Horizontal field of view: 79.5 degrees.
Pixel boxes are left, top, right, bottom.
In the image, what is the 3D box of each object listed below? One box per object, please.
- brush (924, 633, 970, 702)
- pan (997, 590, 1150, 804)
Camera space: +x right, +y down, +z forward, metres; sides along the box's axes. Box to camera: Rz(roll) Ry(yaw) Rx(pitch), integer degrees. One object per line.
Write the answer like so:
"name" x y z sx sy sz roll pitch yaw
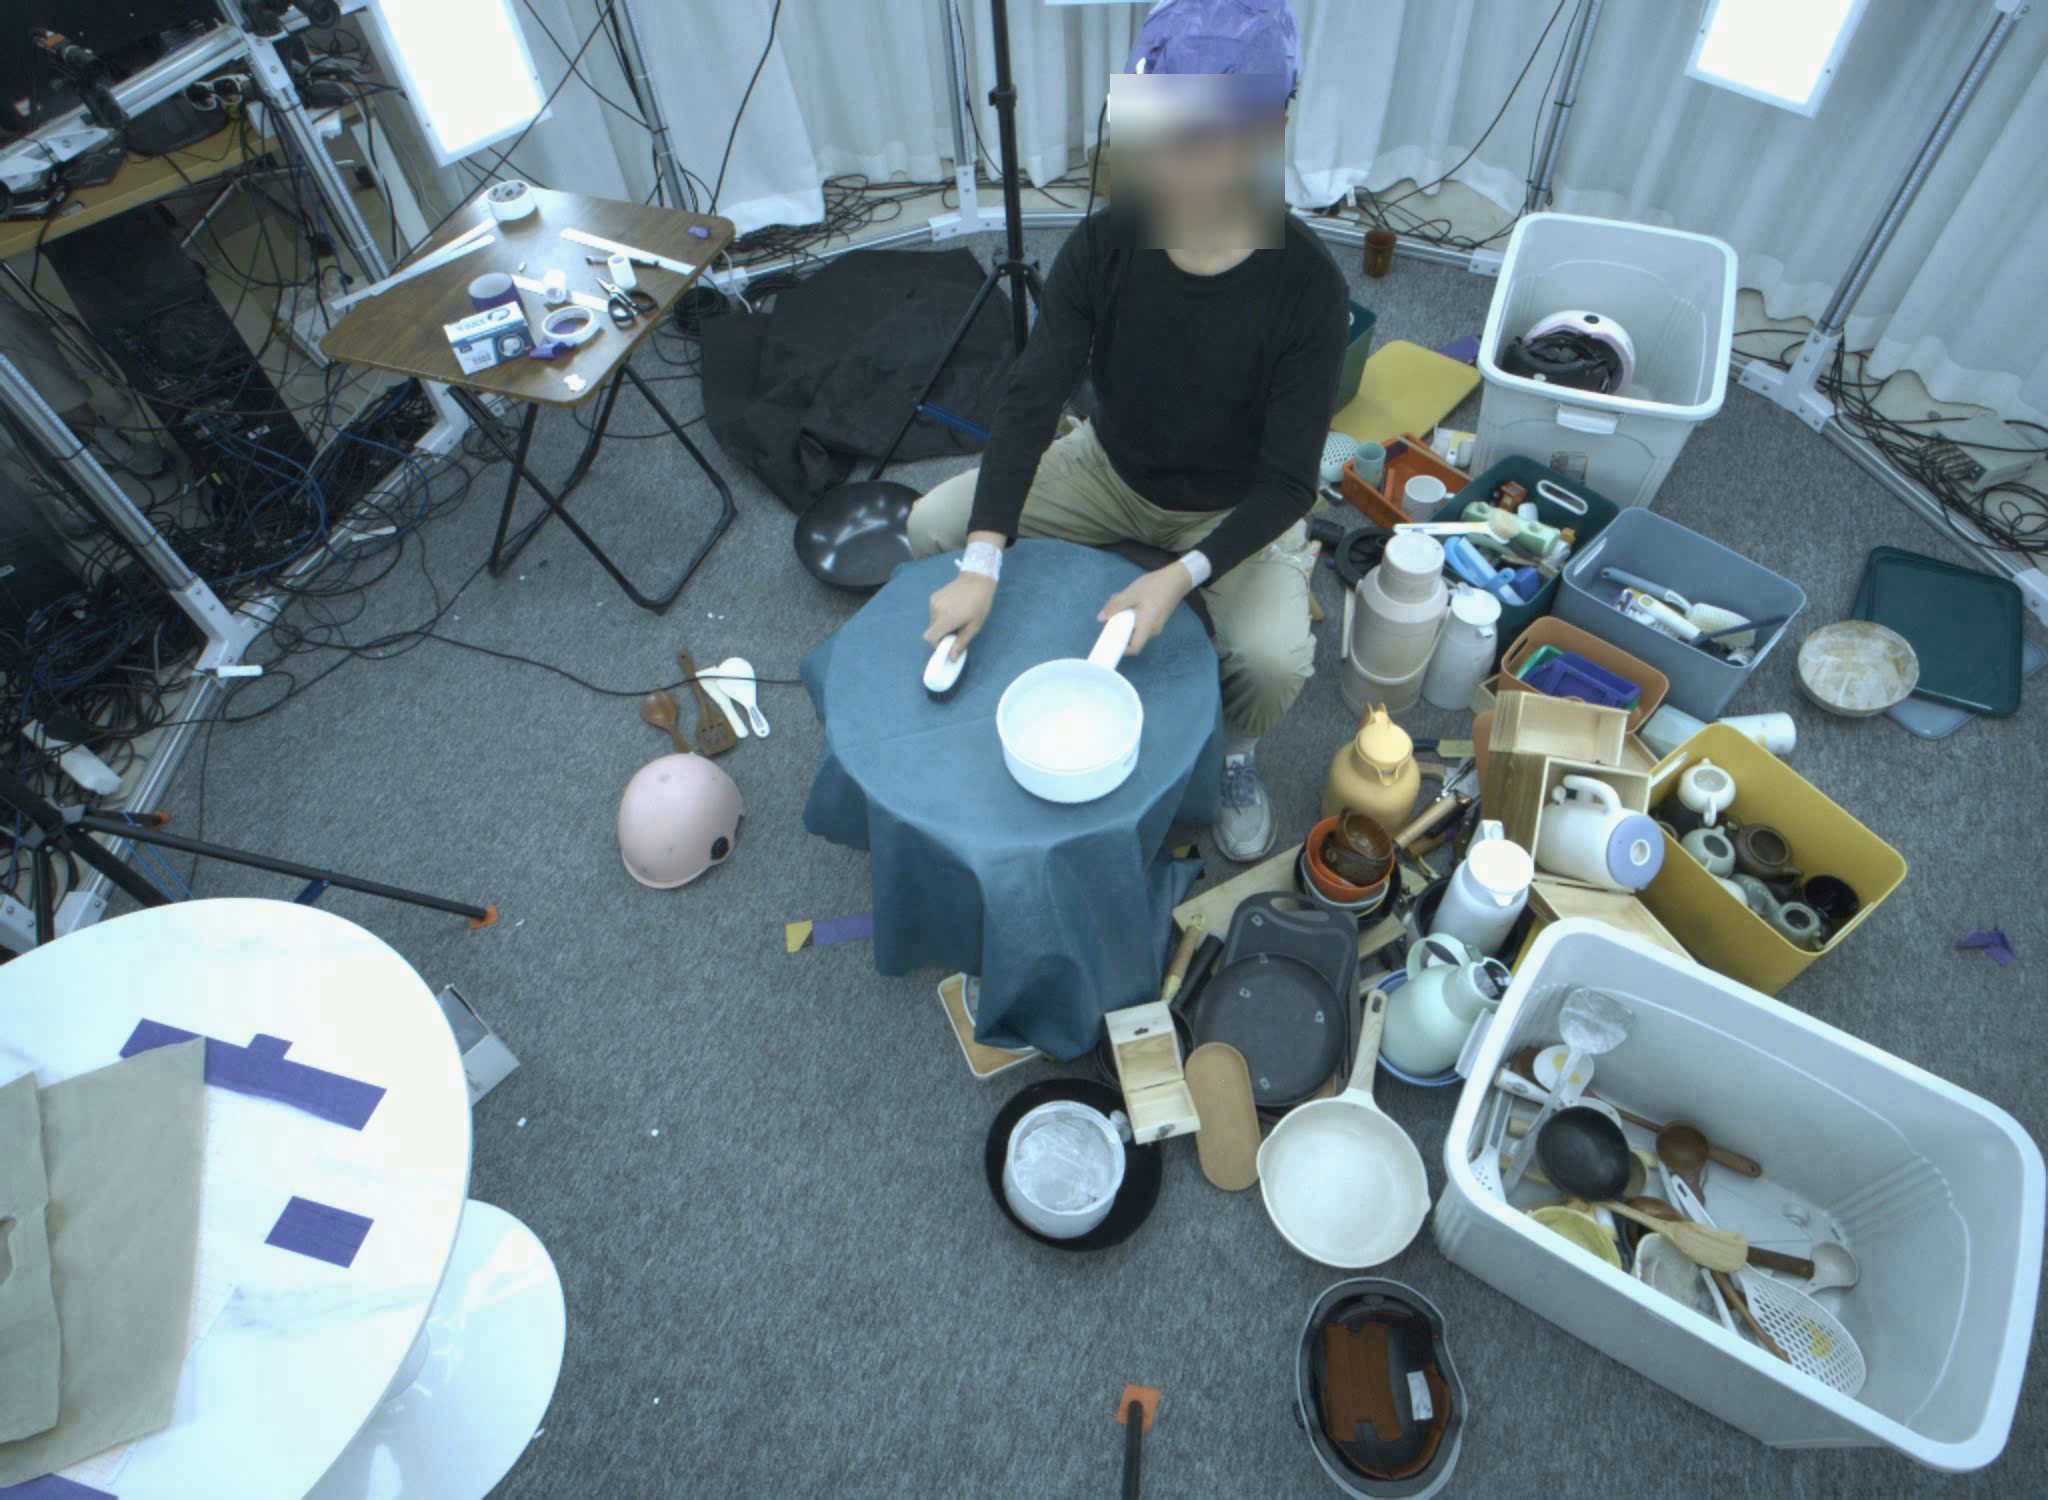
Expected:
"brush" -0.119 -0.132 1.839 0.049 0.073 0.099 13 56 16
"pan" 0.098 -0.078 1.781 0.199 0.103 0.355 18 57 17
